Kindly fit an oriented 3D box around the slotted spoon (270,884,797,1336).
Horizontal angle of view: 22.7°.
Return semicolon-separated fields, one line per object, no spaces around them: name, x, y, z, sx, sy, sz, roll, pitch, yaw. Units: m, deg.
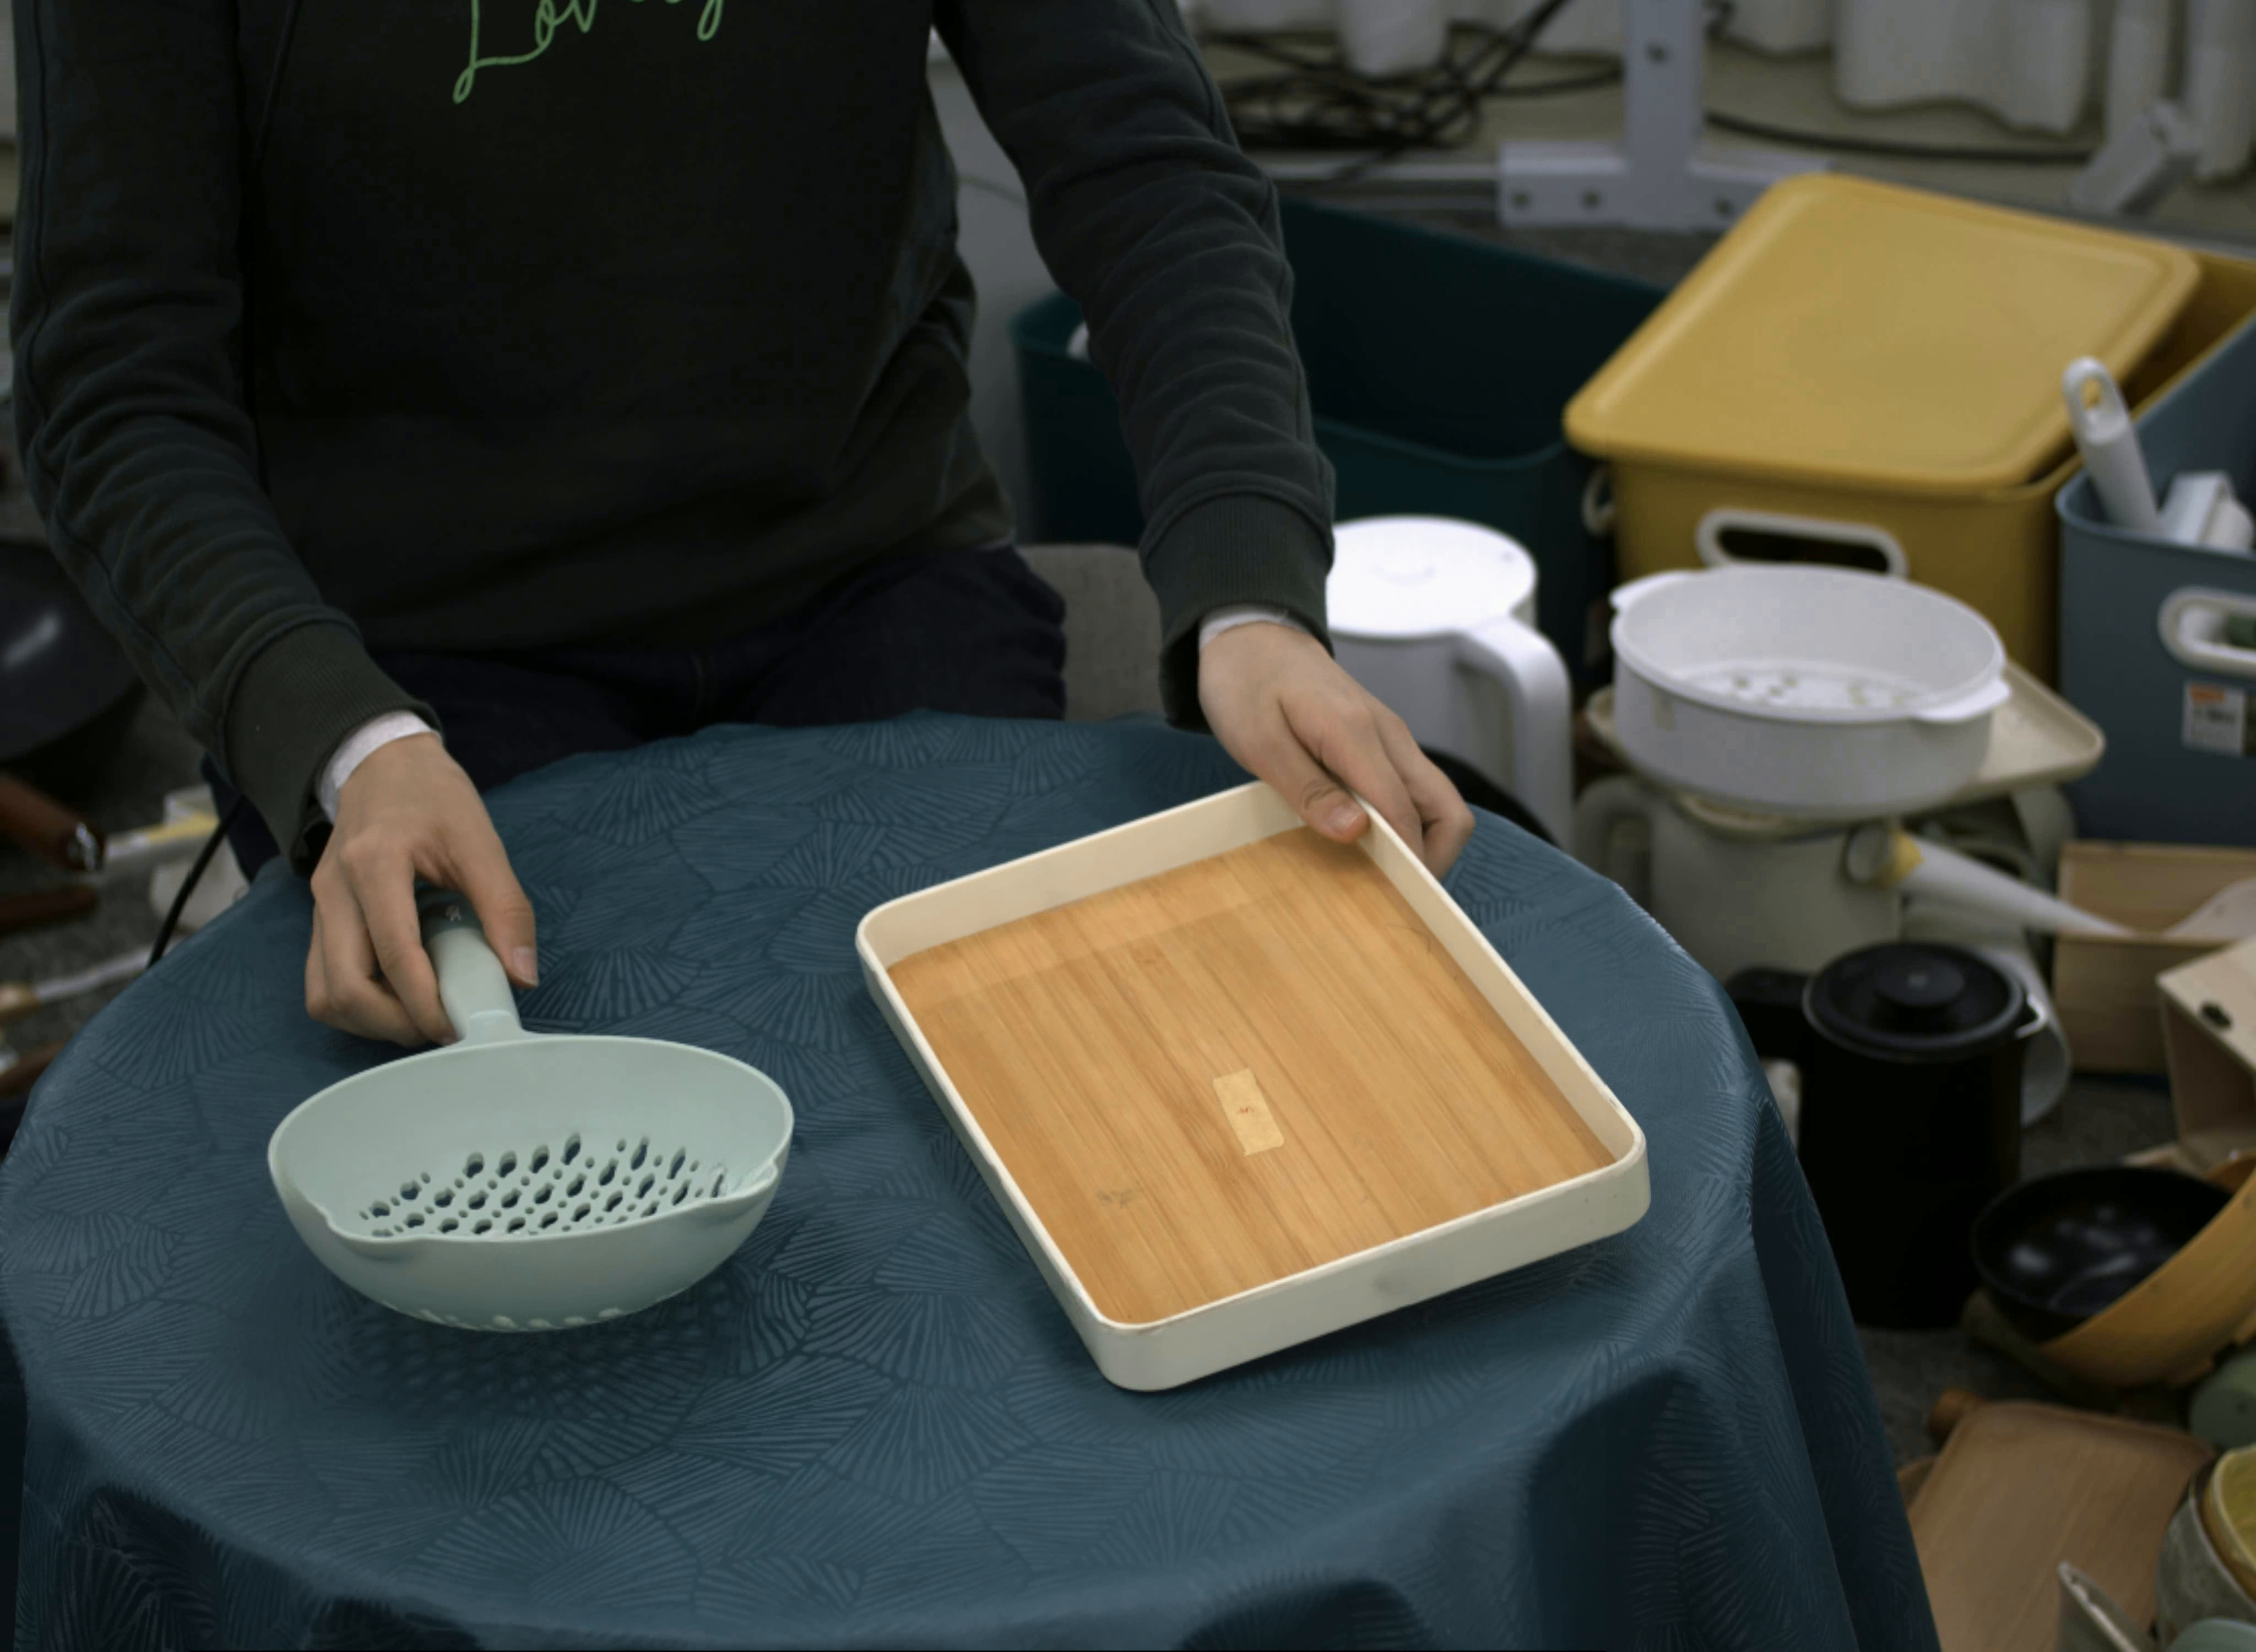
slotted spoon;-0.212;0.080;1.893;0.169;0.074;0.363;-5;27;-12

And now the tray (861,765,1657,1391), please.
tray;0.038;0.079;1.887;0.192;0.027;0.303;-18;30;-11
